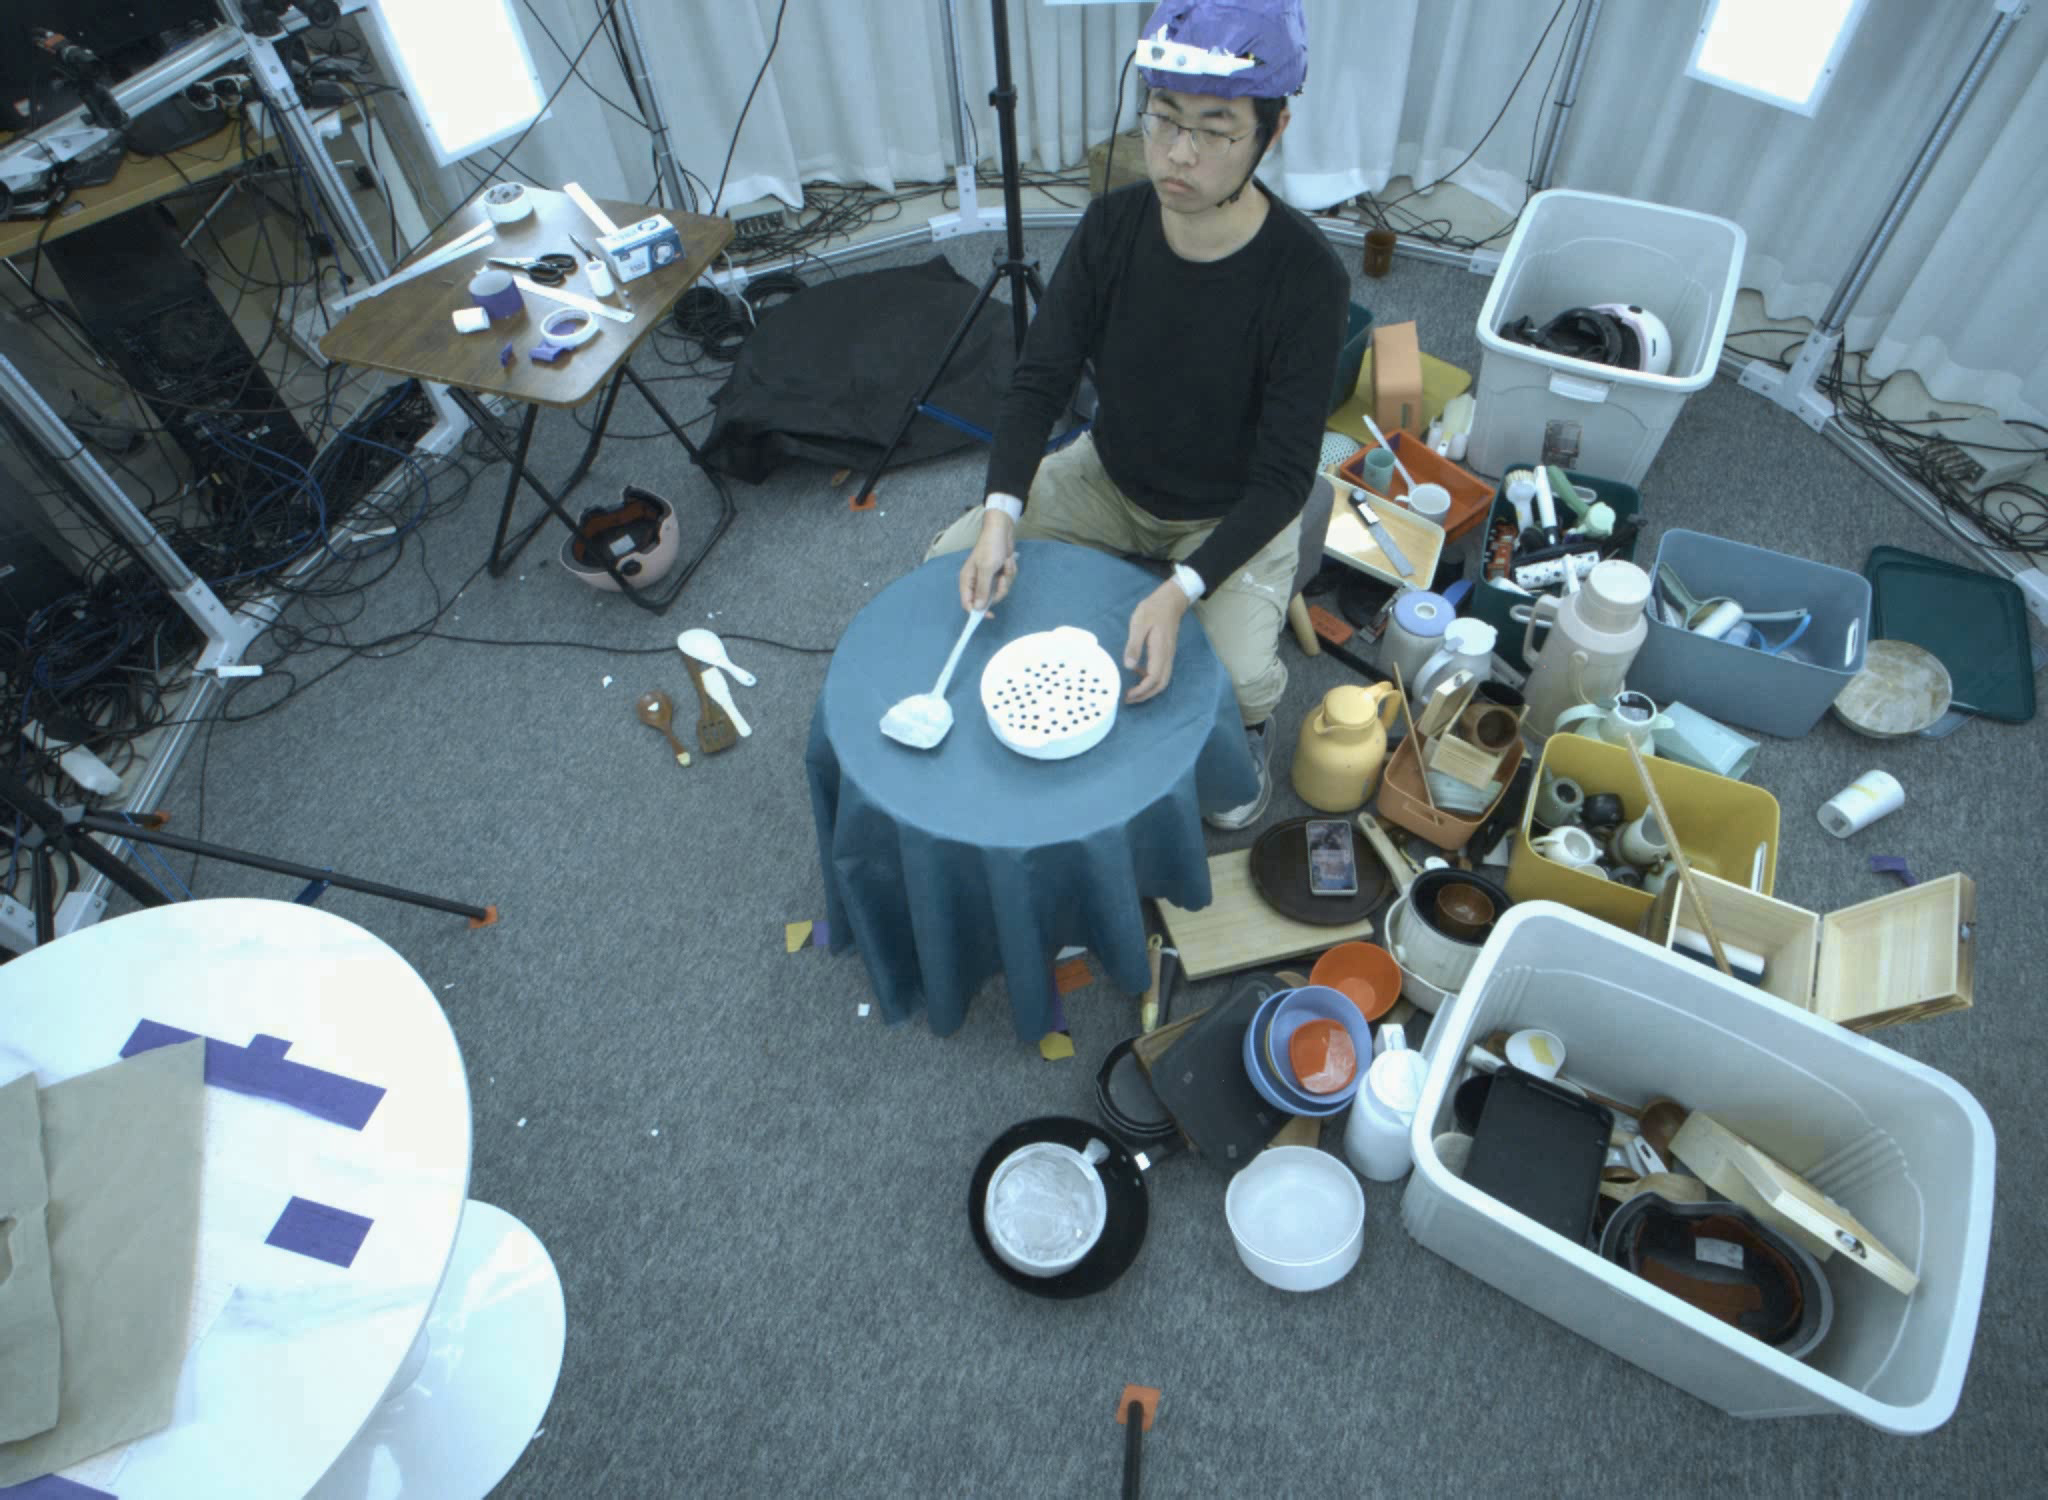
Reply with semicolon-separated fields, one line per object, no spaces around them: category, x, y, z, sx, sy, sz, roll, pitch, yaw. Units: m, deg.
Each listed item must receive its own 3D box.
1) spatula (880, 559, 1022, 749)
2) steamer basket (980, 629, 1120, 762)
spatula;-0.095;-0.156;1.848;0.097;0.045;0.365;22;72;15
steamer basket;0.038;-0.075;1.797;0.200;0.070;0.230;19;57;14
